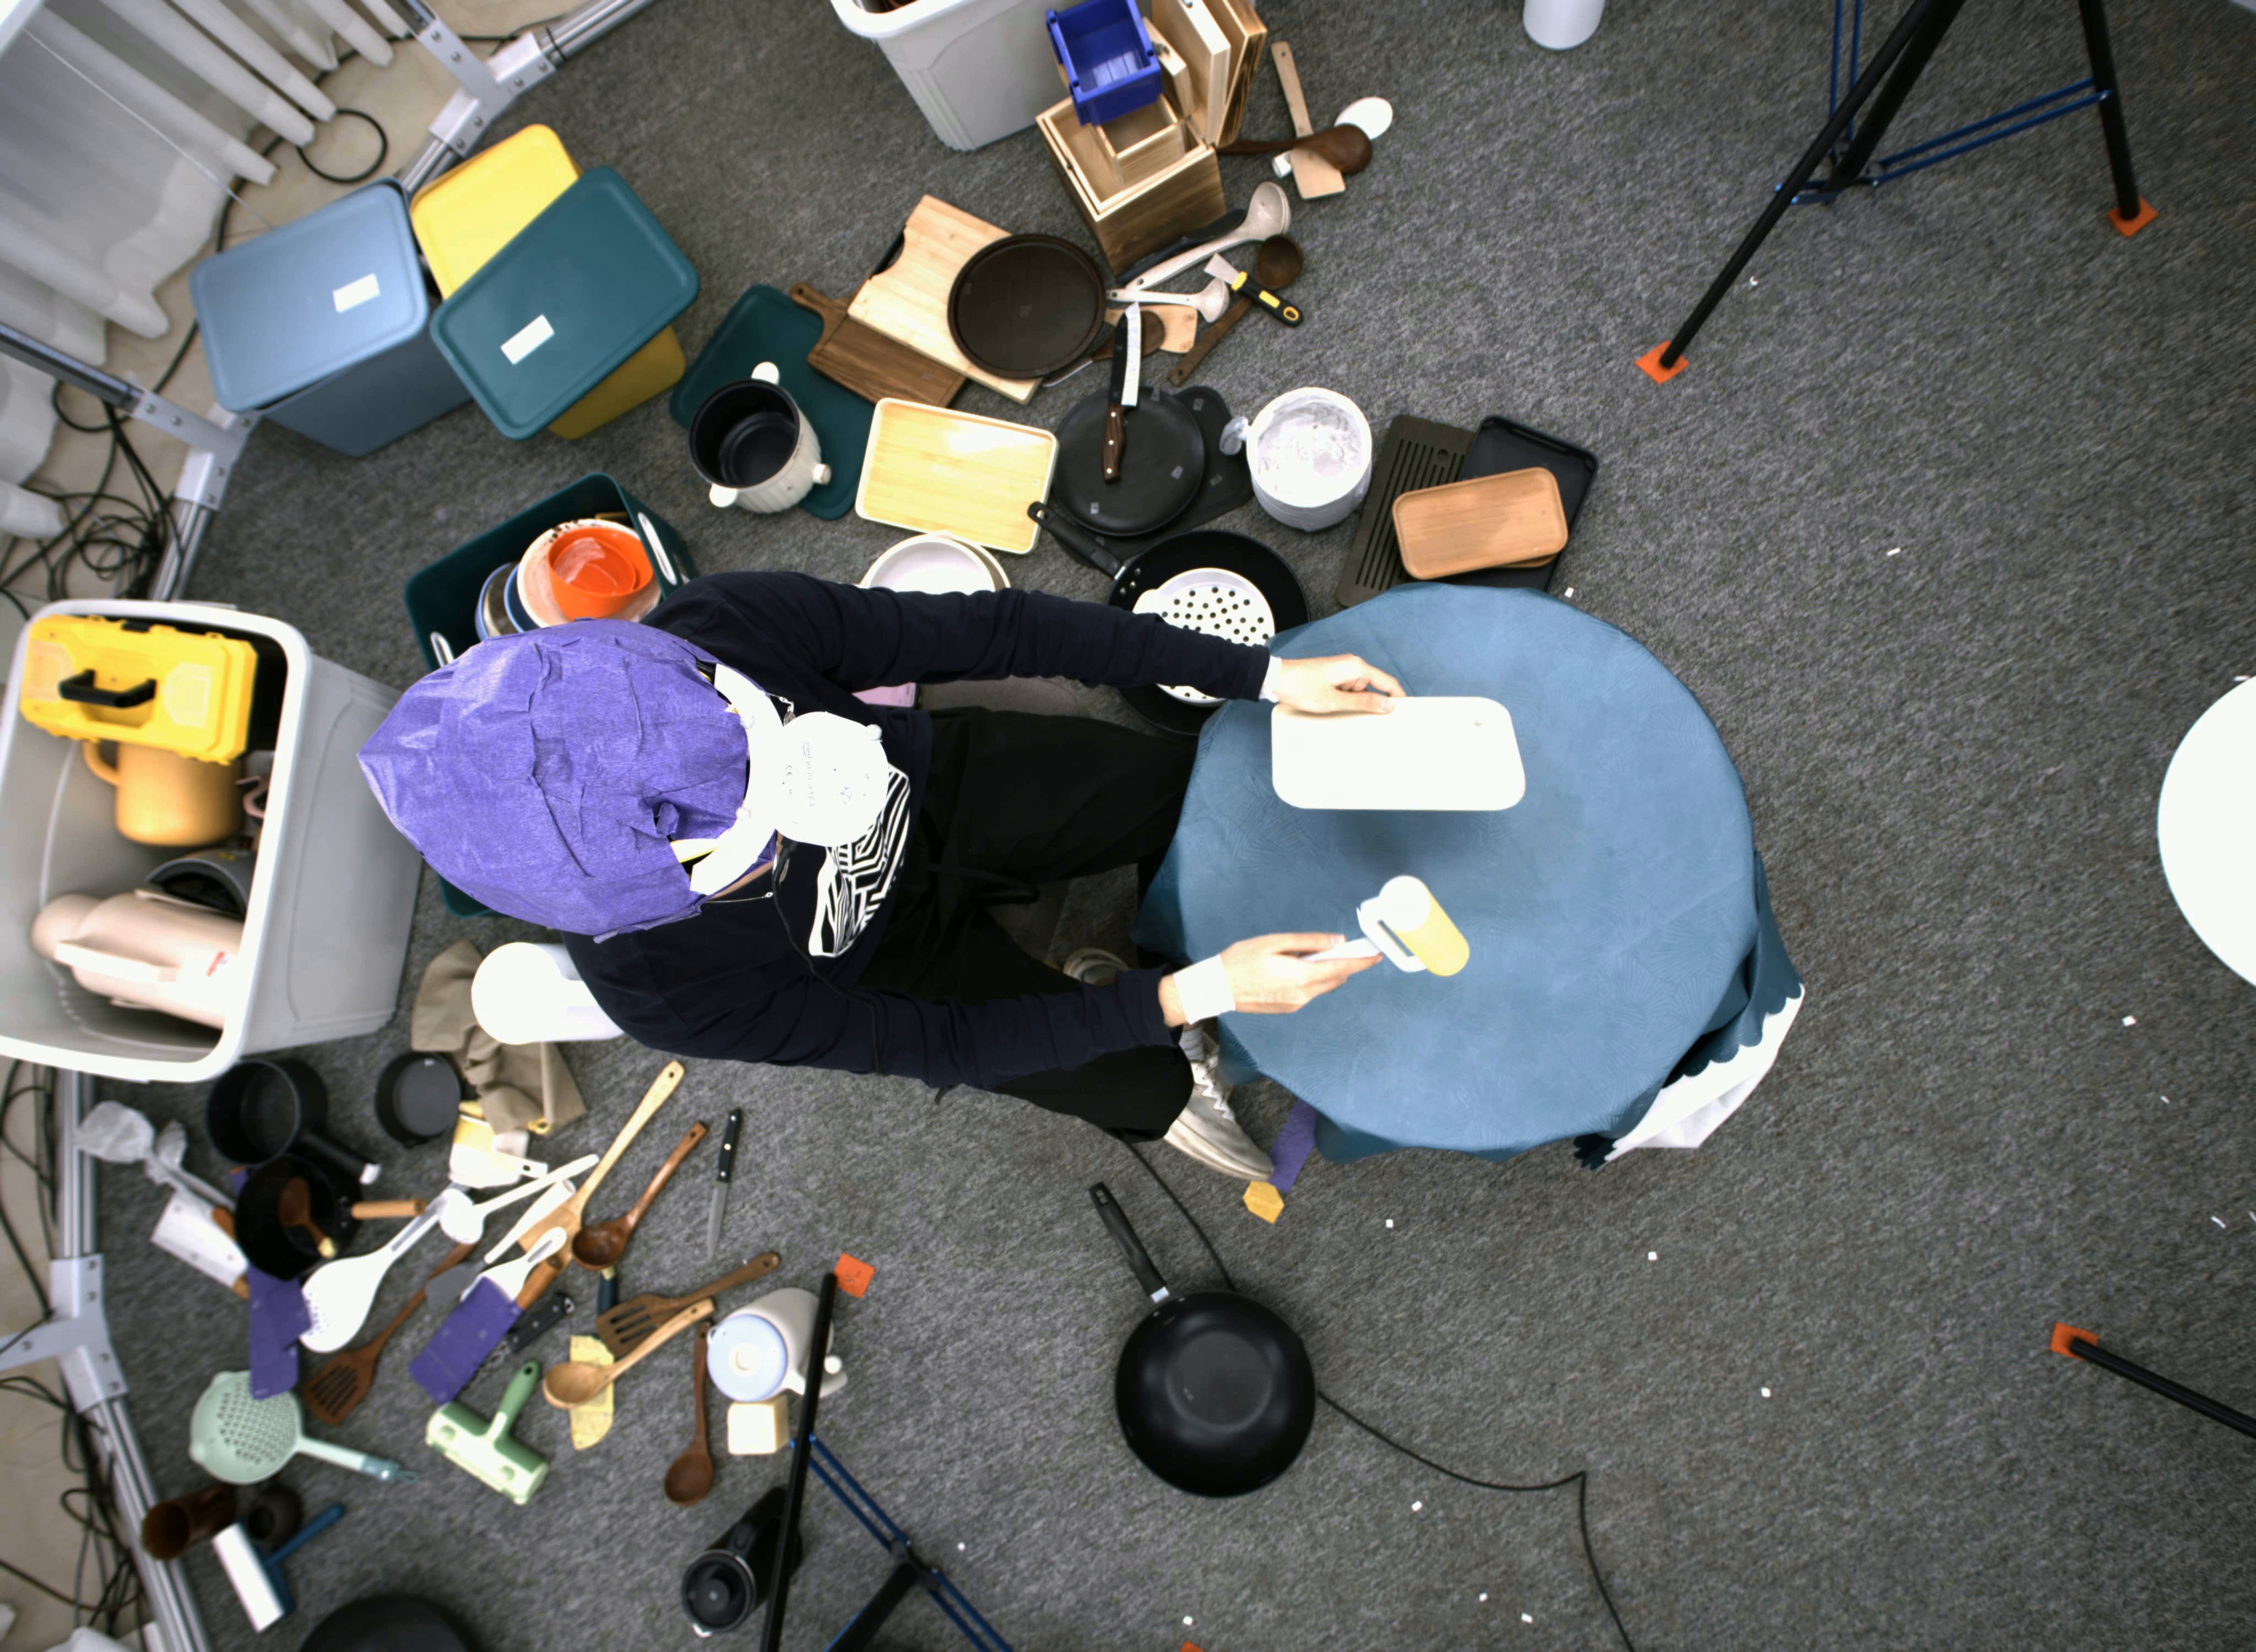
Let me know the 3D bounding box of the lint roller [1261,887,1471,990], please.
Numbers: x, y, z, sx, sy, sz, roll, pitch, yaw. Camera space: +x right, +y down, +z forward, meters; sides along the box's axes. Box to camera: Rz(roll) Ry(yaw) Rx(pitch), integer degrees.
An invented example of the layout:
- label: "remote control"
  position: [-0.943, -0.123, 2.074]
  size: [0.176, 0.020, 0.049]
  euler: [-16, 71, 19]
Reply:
- label: "lint roller"
  position: [0.219, 0.130, 1.320]
  size: [0.194, 0.175, 0.050]
  euler: [-27, 62, 18]

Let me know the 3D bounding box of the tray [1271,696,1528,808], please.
- label: "tray"
  position: [0.262, -0.074, 1.346]
  size: [0.240, 0.018, 0.166]
  euler: [0, 42, 5]
